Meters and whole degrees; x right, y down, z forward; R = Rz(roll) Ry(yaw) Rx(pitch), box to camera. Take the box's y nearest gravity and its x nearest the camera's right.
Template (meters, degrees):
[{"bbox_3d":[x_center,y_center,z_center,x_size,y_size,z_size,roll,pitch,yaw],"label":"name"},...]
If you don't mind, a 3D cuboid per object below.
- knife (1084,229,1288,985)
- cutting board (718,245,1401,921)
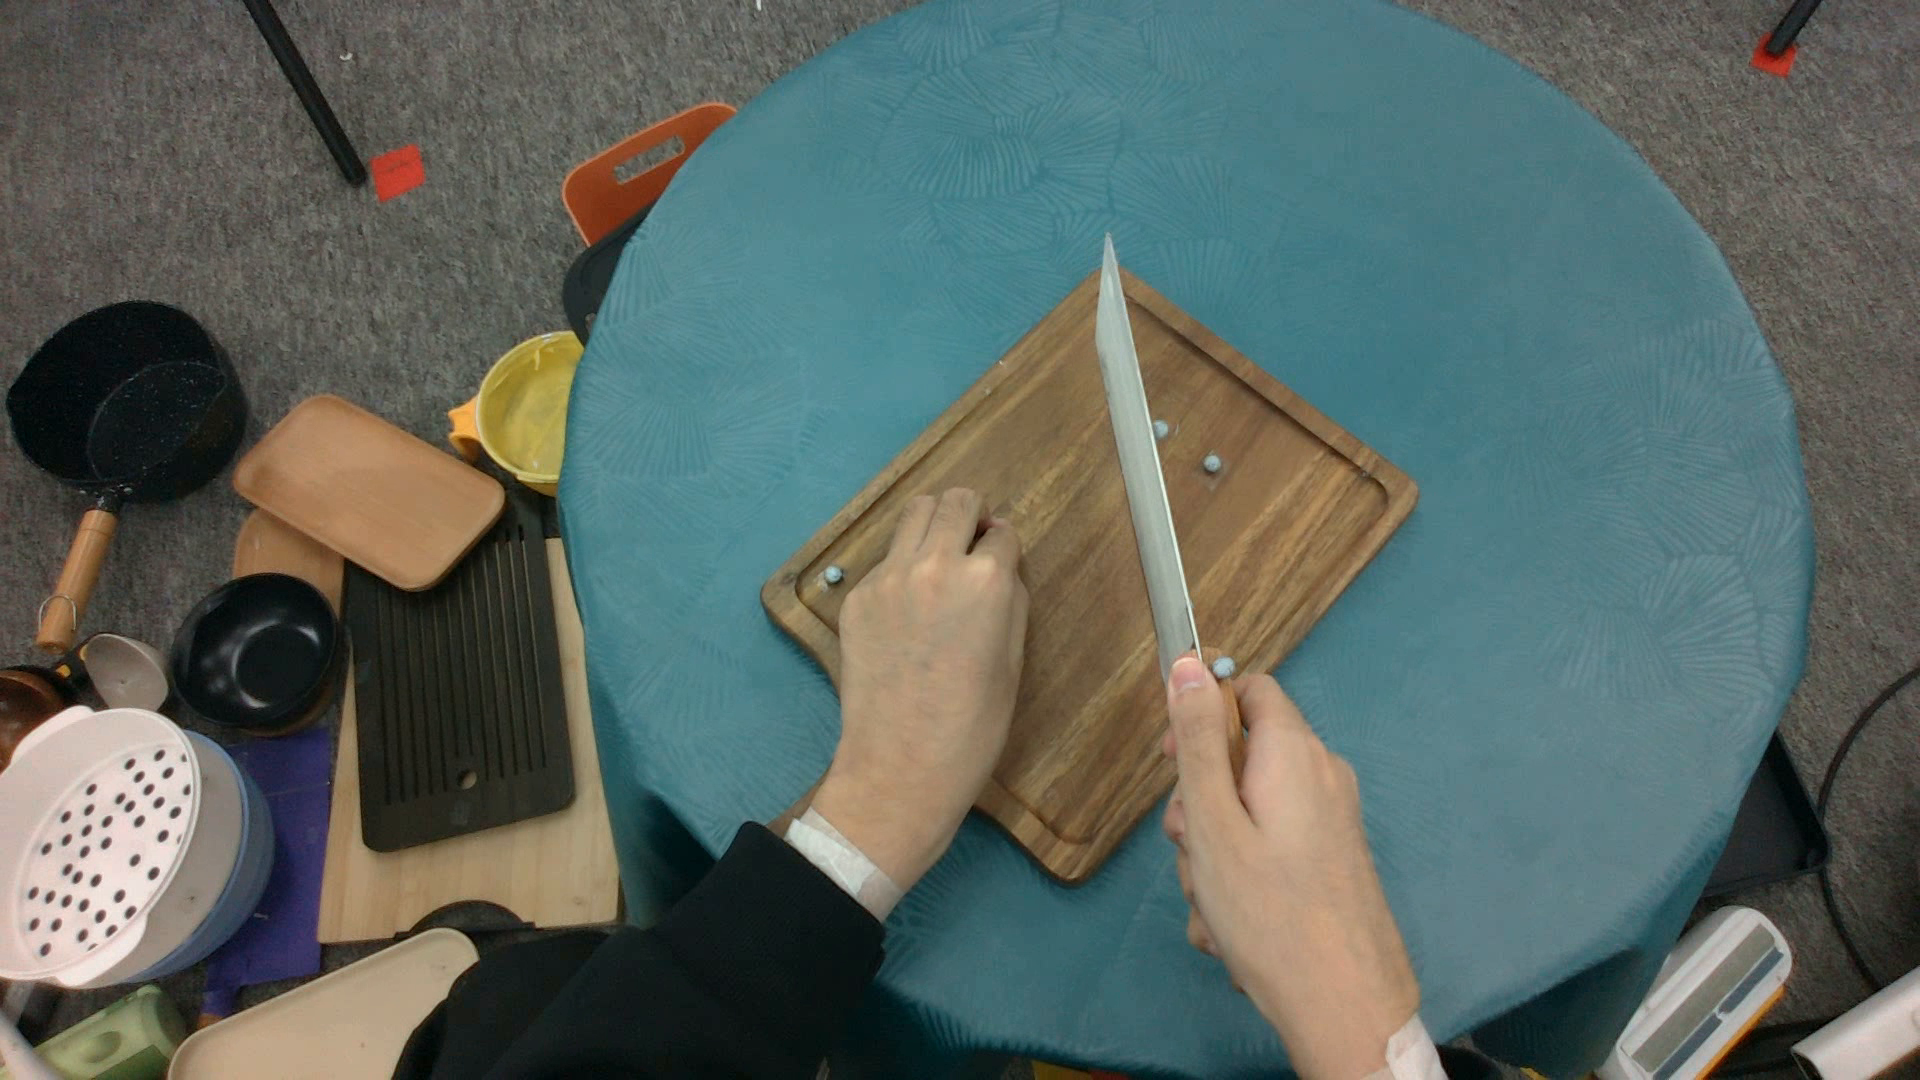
[{"bbox_3d":[0.080,0.022,0.550,0.021,0.092,0.306,-9,67,-1],"label":"knife"},{"bbox_3d":[0.022,0.029,0.623,0.201,0.023,0.353,39,72,16],"label":"cutting board"}]
